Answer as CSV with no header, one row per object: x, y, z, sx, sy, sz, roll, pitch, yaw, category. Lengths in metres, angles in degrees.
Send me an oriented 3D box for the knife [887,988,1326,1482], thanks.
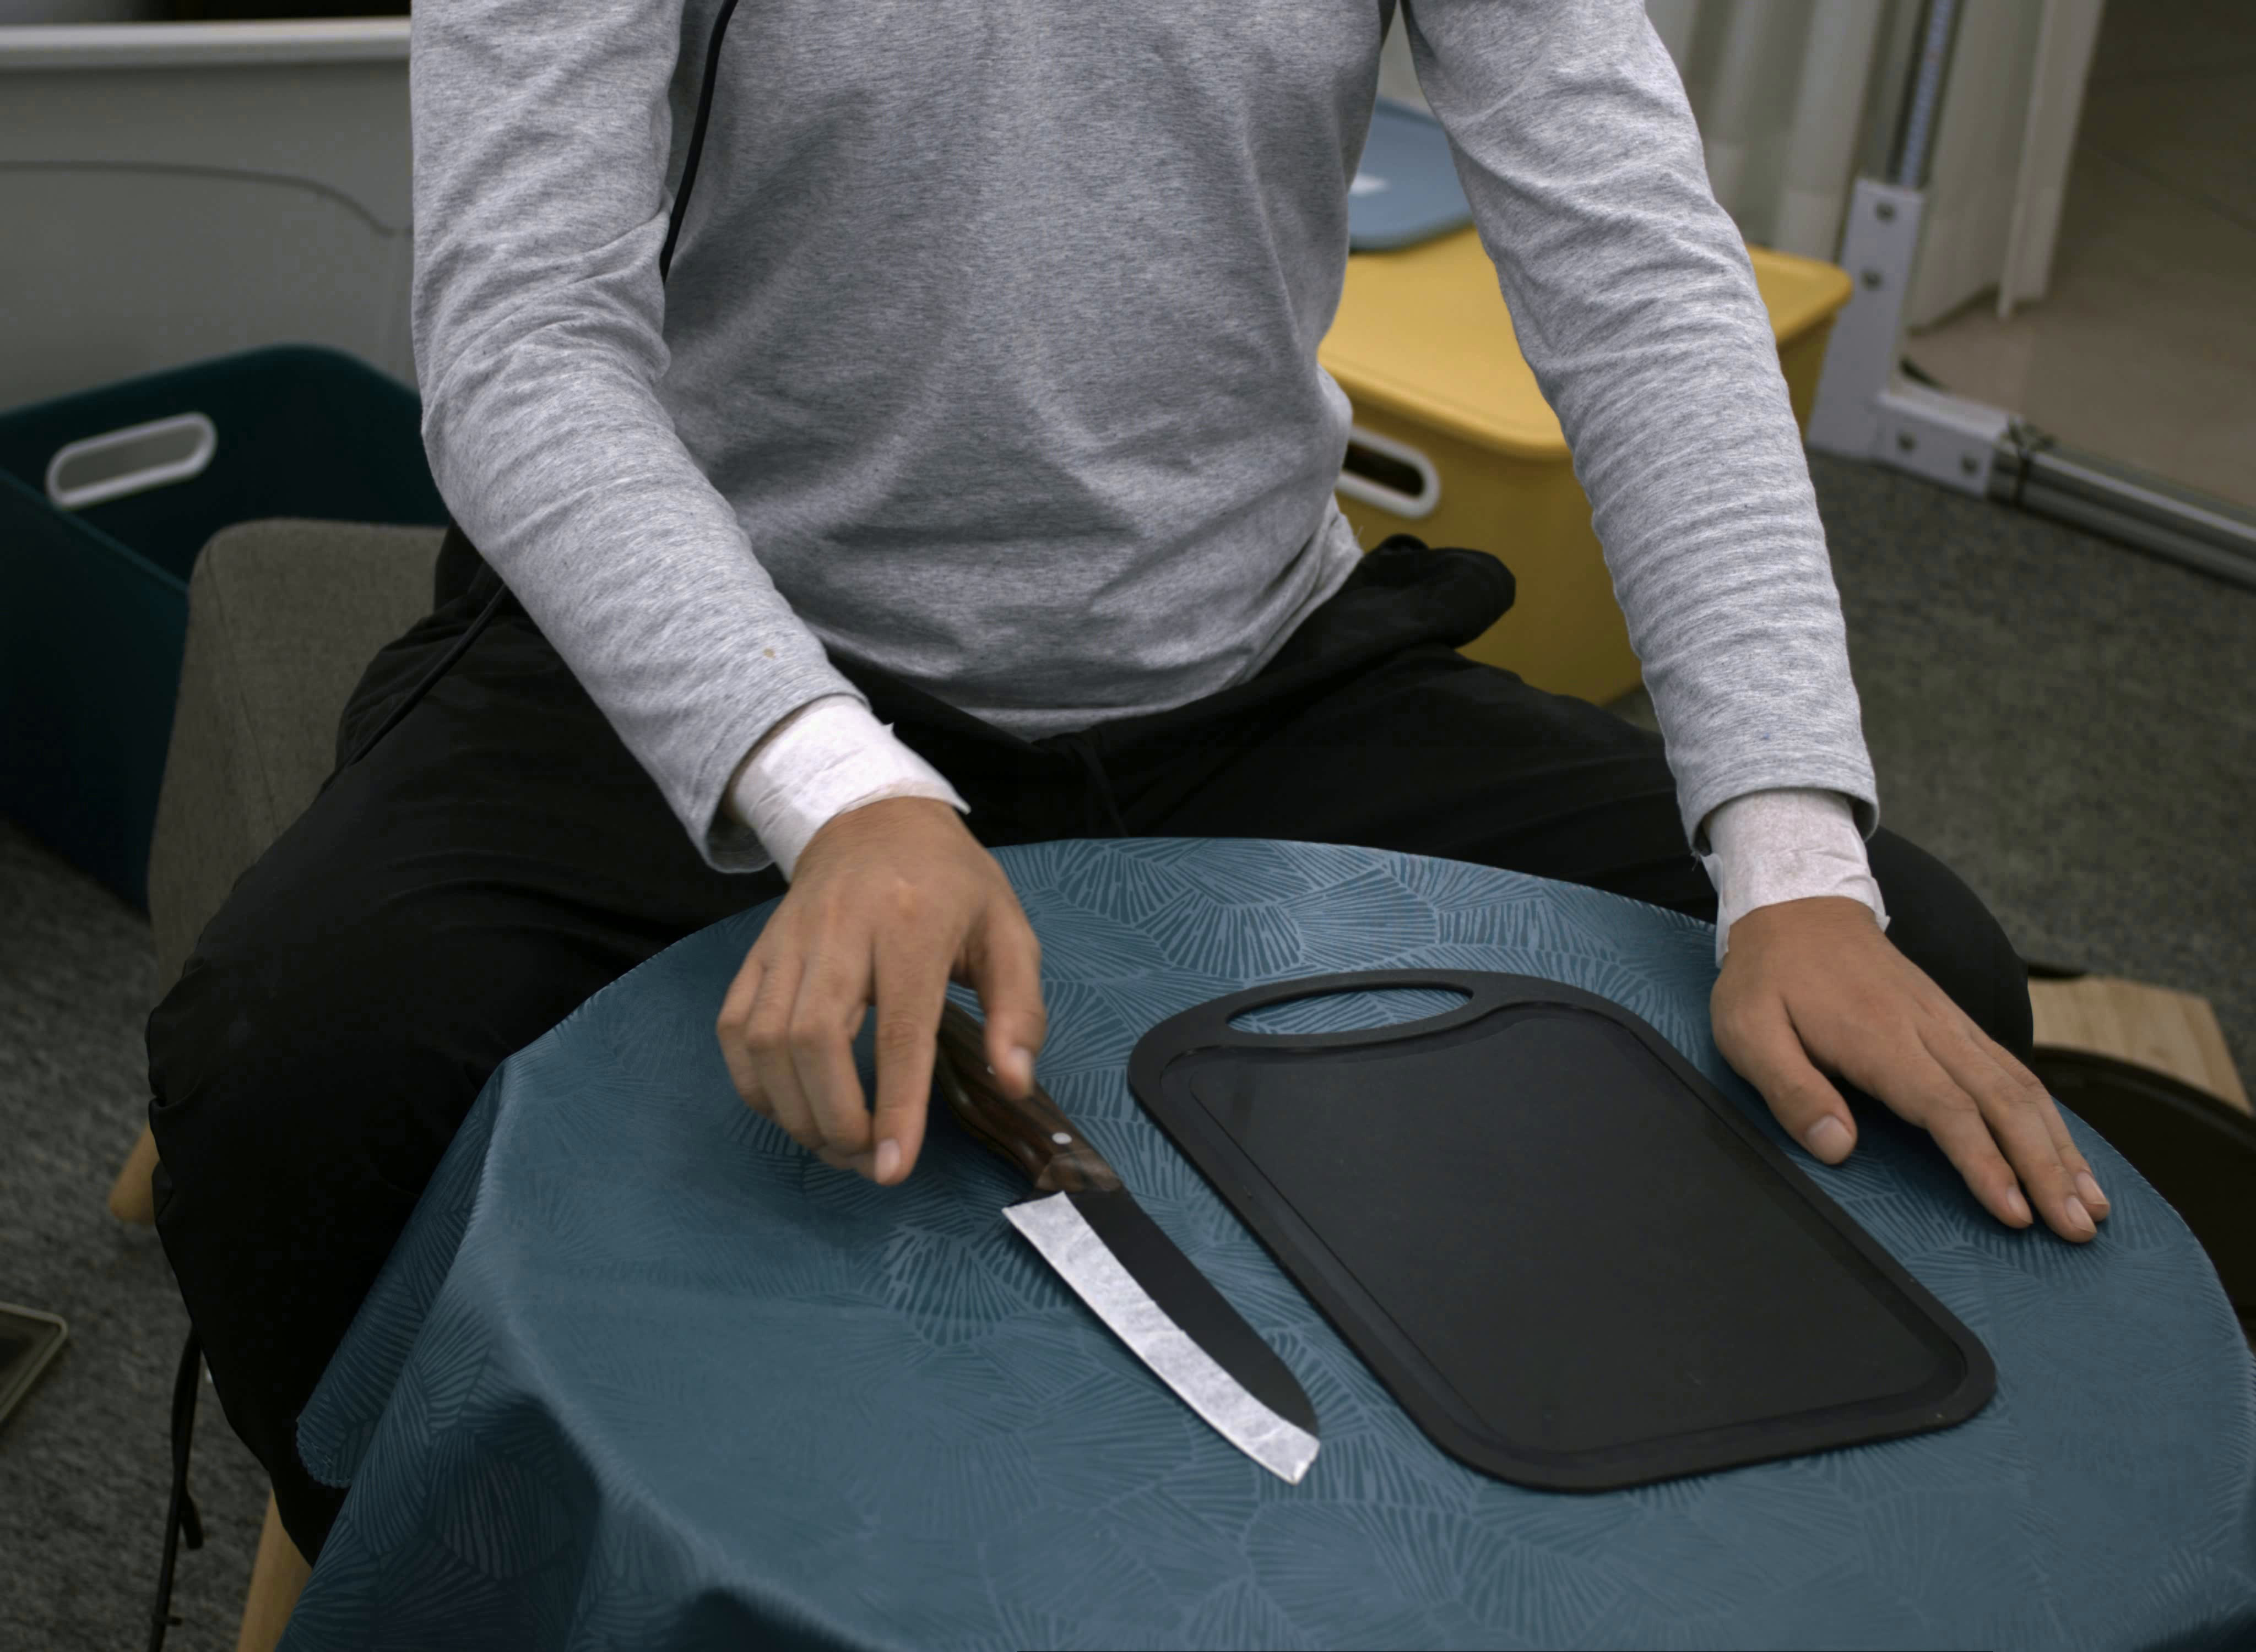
-0.010,0.134,1.766,0.050,0.020,0.292,-12,35,-24,knife

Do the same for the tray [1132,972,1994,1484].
0.139,0.128,1.823,0.210,0.010,0.328,-6,29,-24,tray
